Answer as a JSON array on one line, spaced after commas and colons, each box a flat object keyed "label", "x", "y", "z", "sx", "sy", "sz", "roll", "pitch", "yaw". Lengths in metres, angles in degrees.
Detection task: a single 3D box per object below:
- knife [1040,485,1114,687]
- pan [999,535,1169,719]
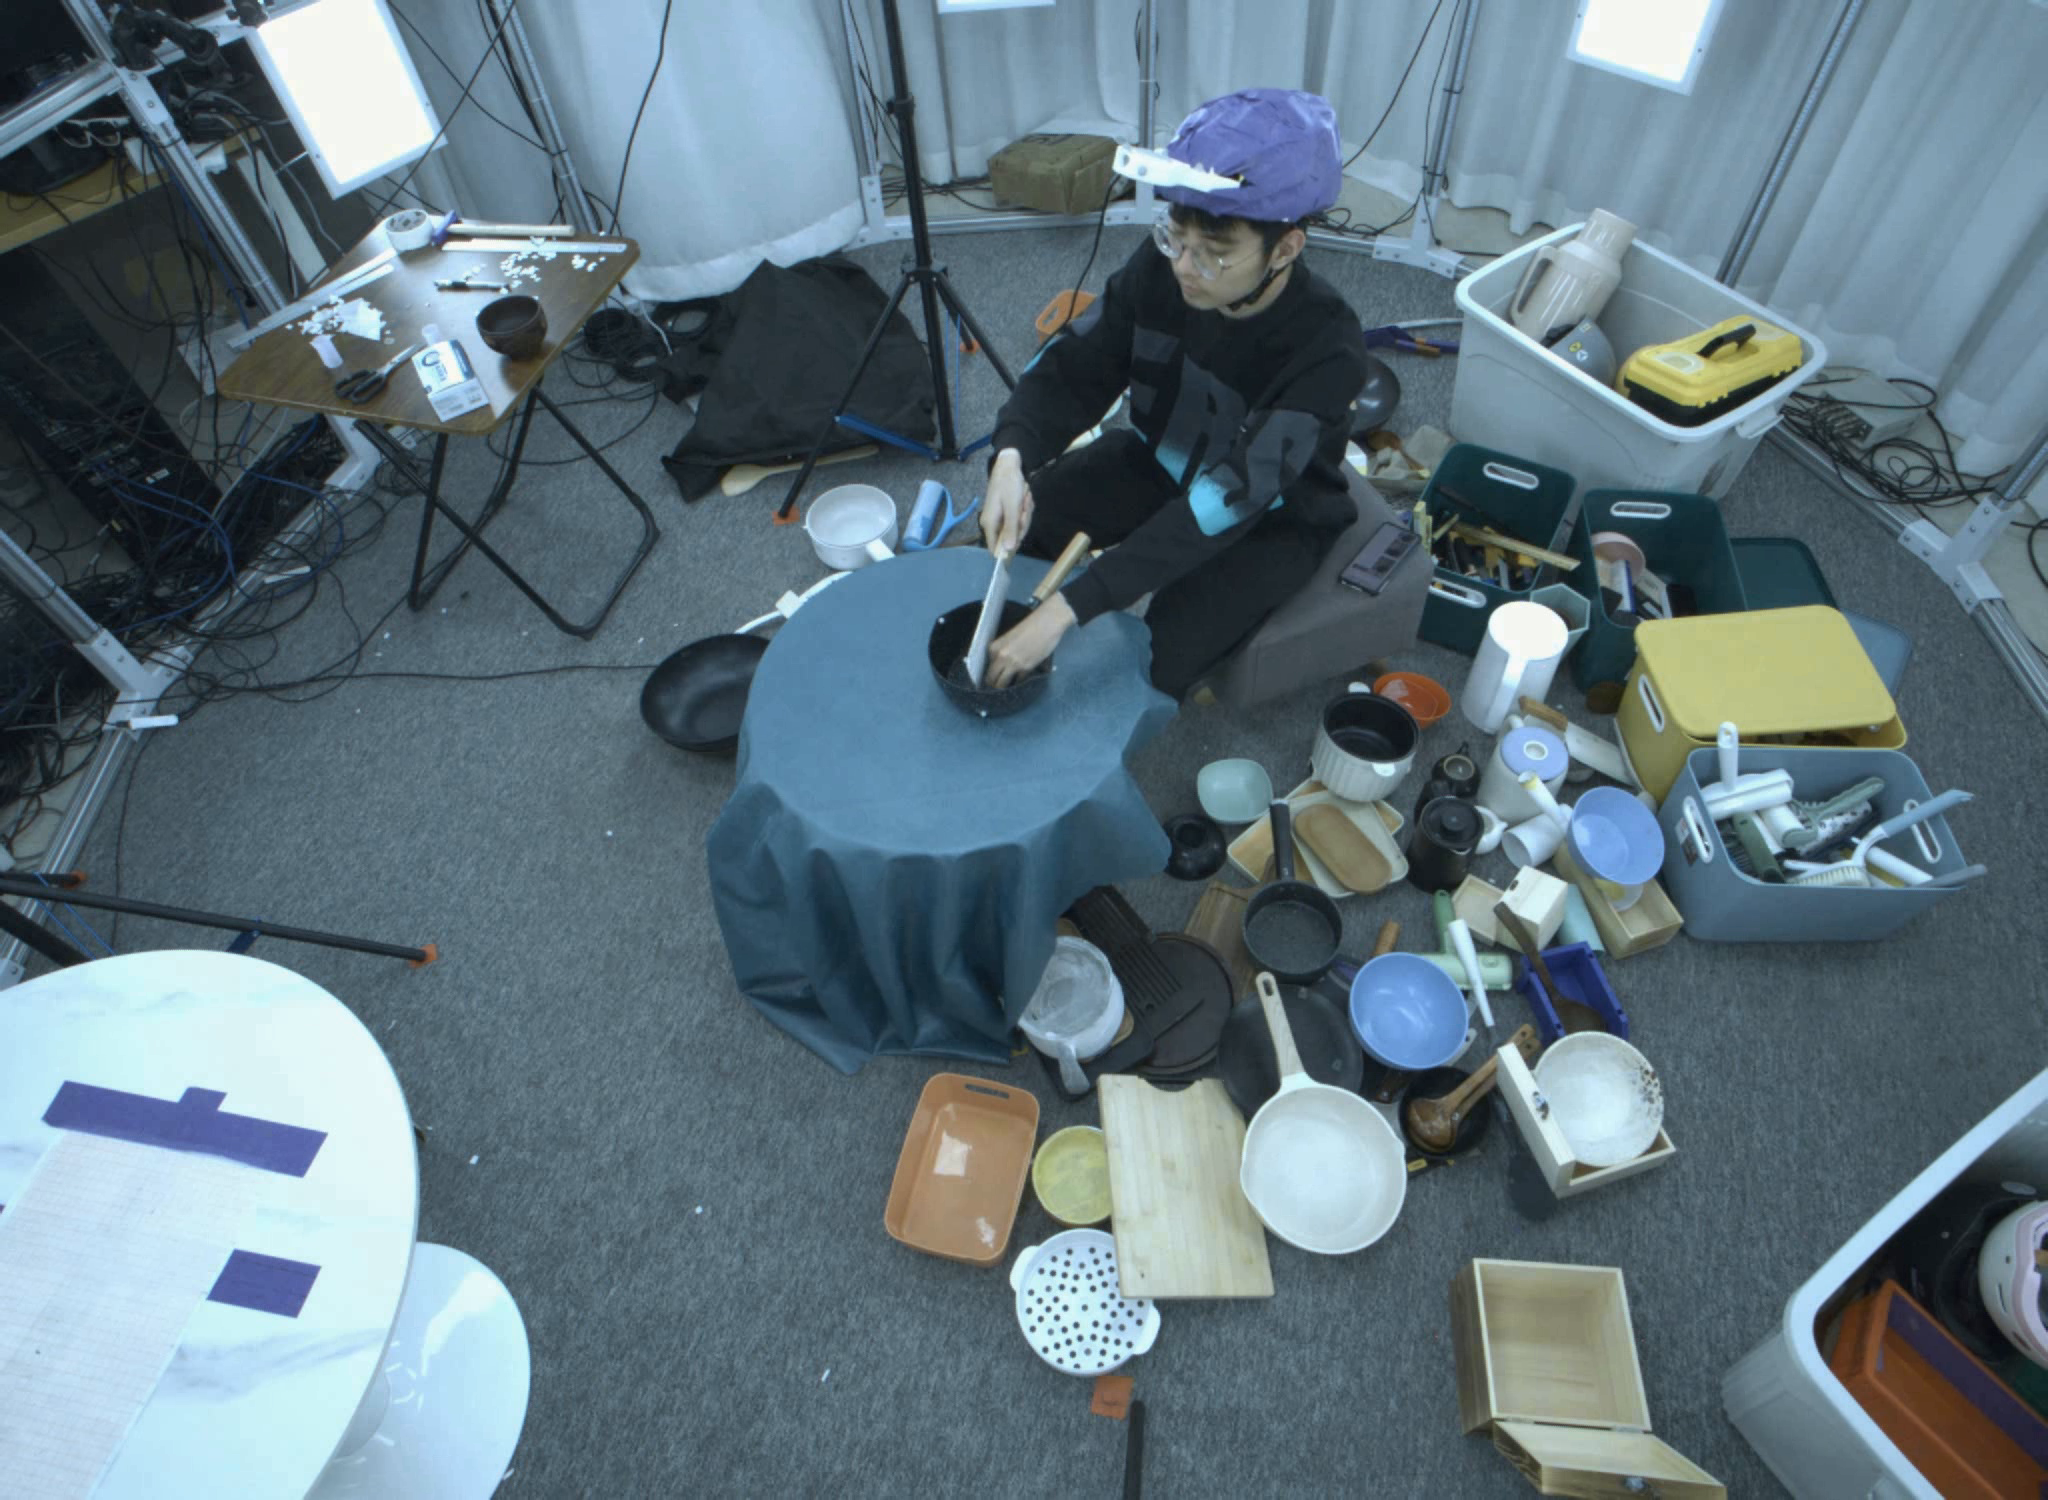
[{"label": "knife", "x": 0.074, "y": -0.239, "z": 1.778, "sx": 0.021, "sy": 0.115, "sz": 0.315, "roll": 16, "pitch": 81, "yaw": 14}, {"label": "pan", "x": 0.107, "y": -0.189, "z": 1.849, "sx": 0.204, "sy": 0.109, "sz": 0.344, "roll": 31, "pitch": 63, "yaw": 23}]
